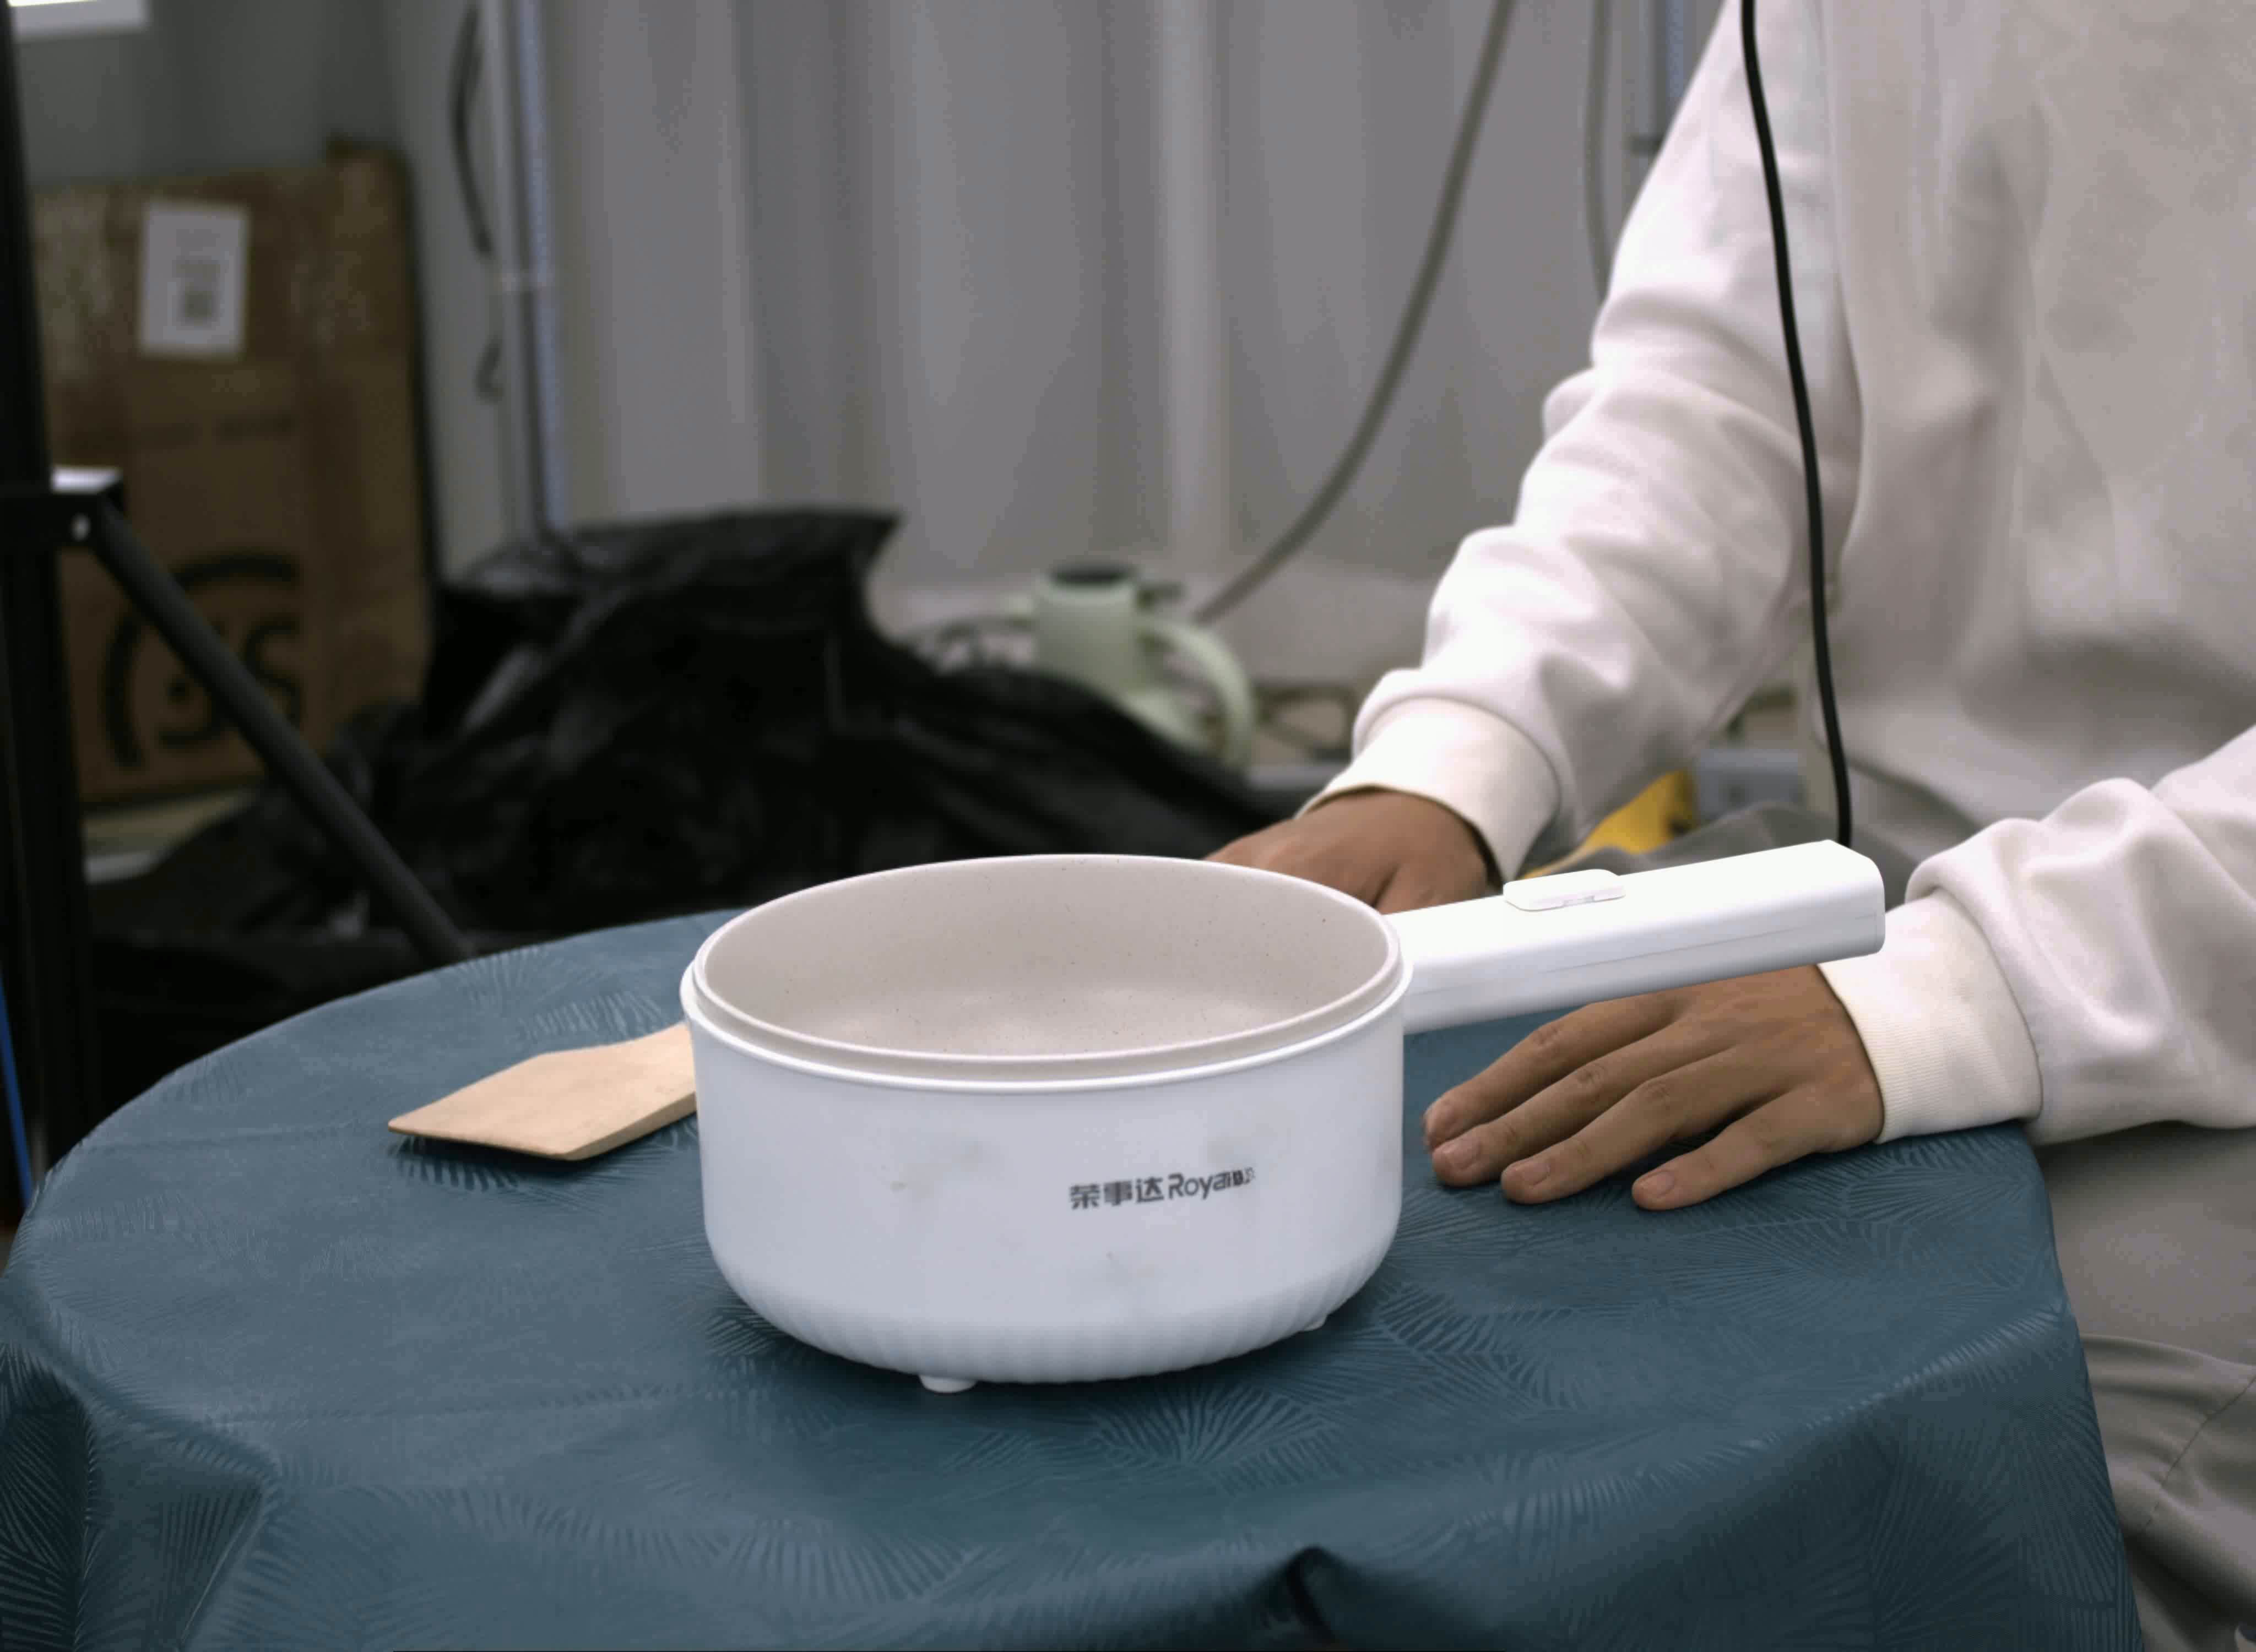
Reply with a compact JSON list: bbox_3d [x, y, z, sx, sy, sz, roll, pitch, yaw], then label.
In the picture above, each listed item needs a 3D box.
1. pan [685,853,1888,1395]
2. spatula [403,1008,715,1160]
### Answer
[{"bbox_3d":[0.050,0.076,1.493,0.348,0.102,0.205,-7,15,-20],"label":"pan"},{"bbox_3d":[-0.123,0.061,1.728,0.073,0.010,0.288,5,18,30],"label":"spatula"}]
